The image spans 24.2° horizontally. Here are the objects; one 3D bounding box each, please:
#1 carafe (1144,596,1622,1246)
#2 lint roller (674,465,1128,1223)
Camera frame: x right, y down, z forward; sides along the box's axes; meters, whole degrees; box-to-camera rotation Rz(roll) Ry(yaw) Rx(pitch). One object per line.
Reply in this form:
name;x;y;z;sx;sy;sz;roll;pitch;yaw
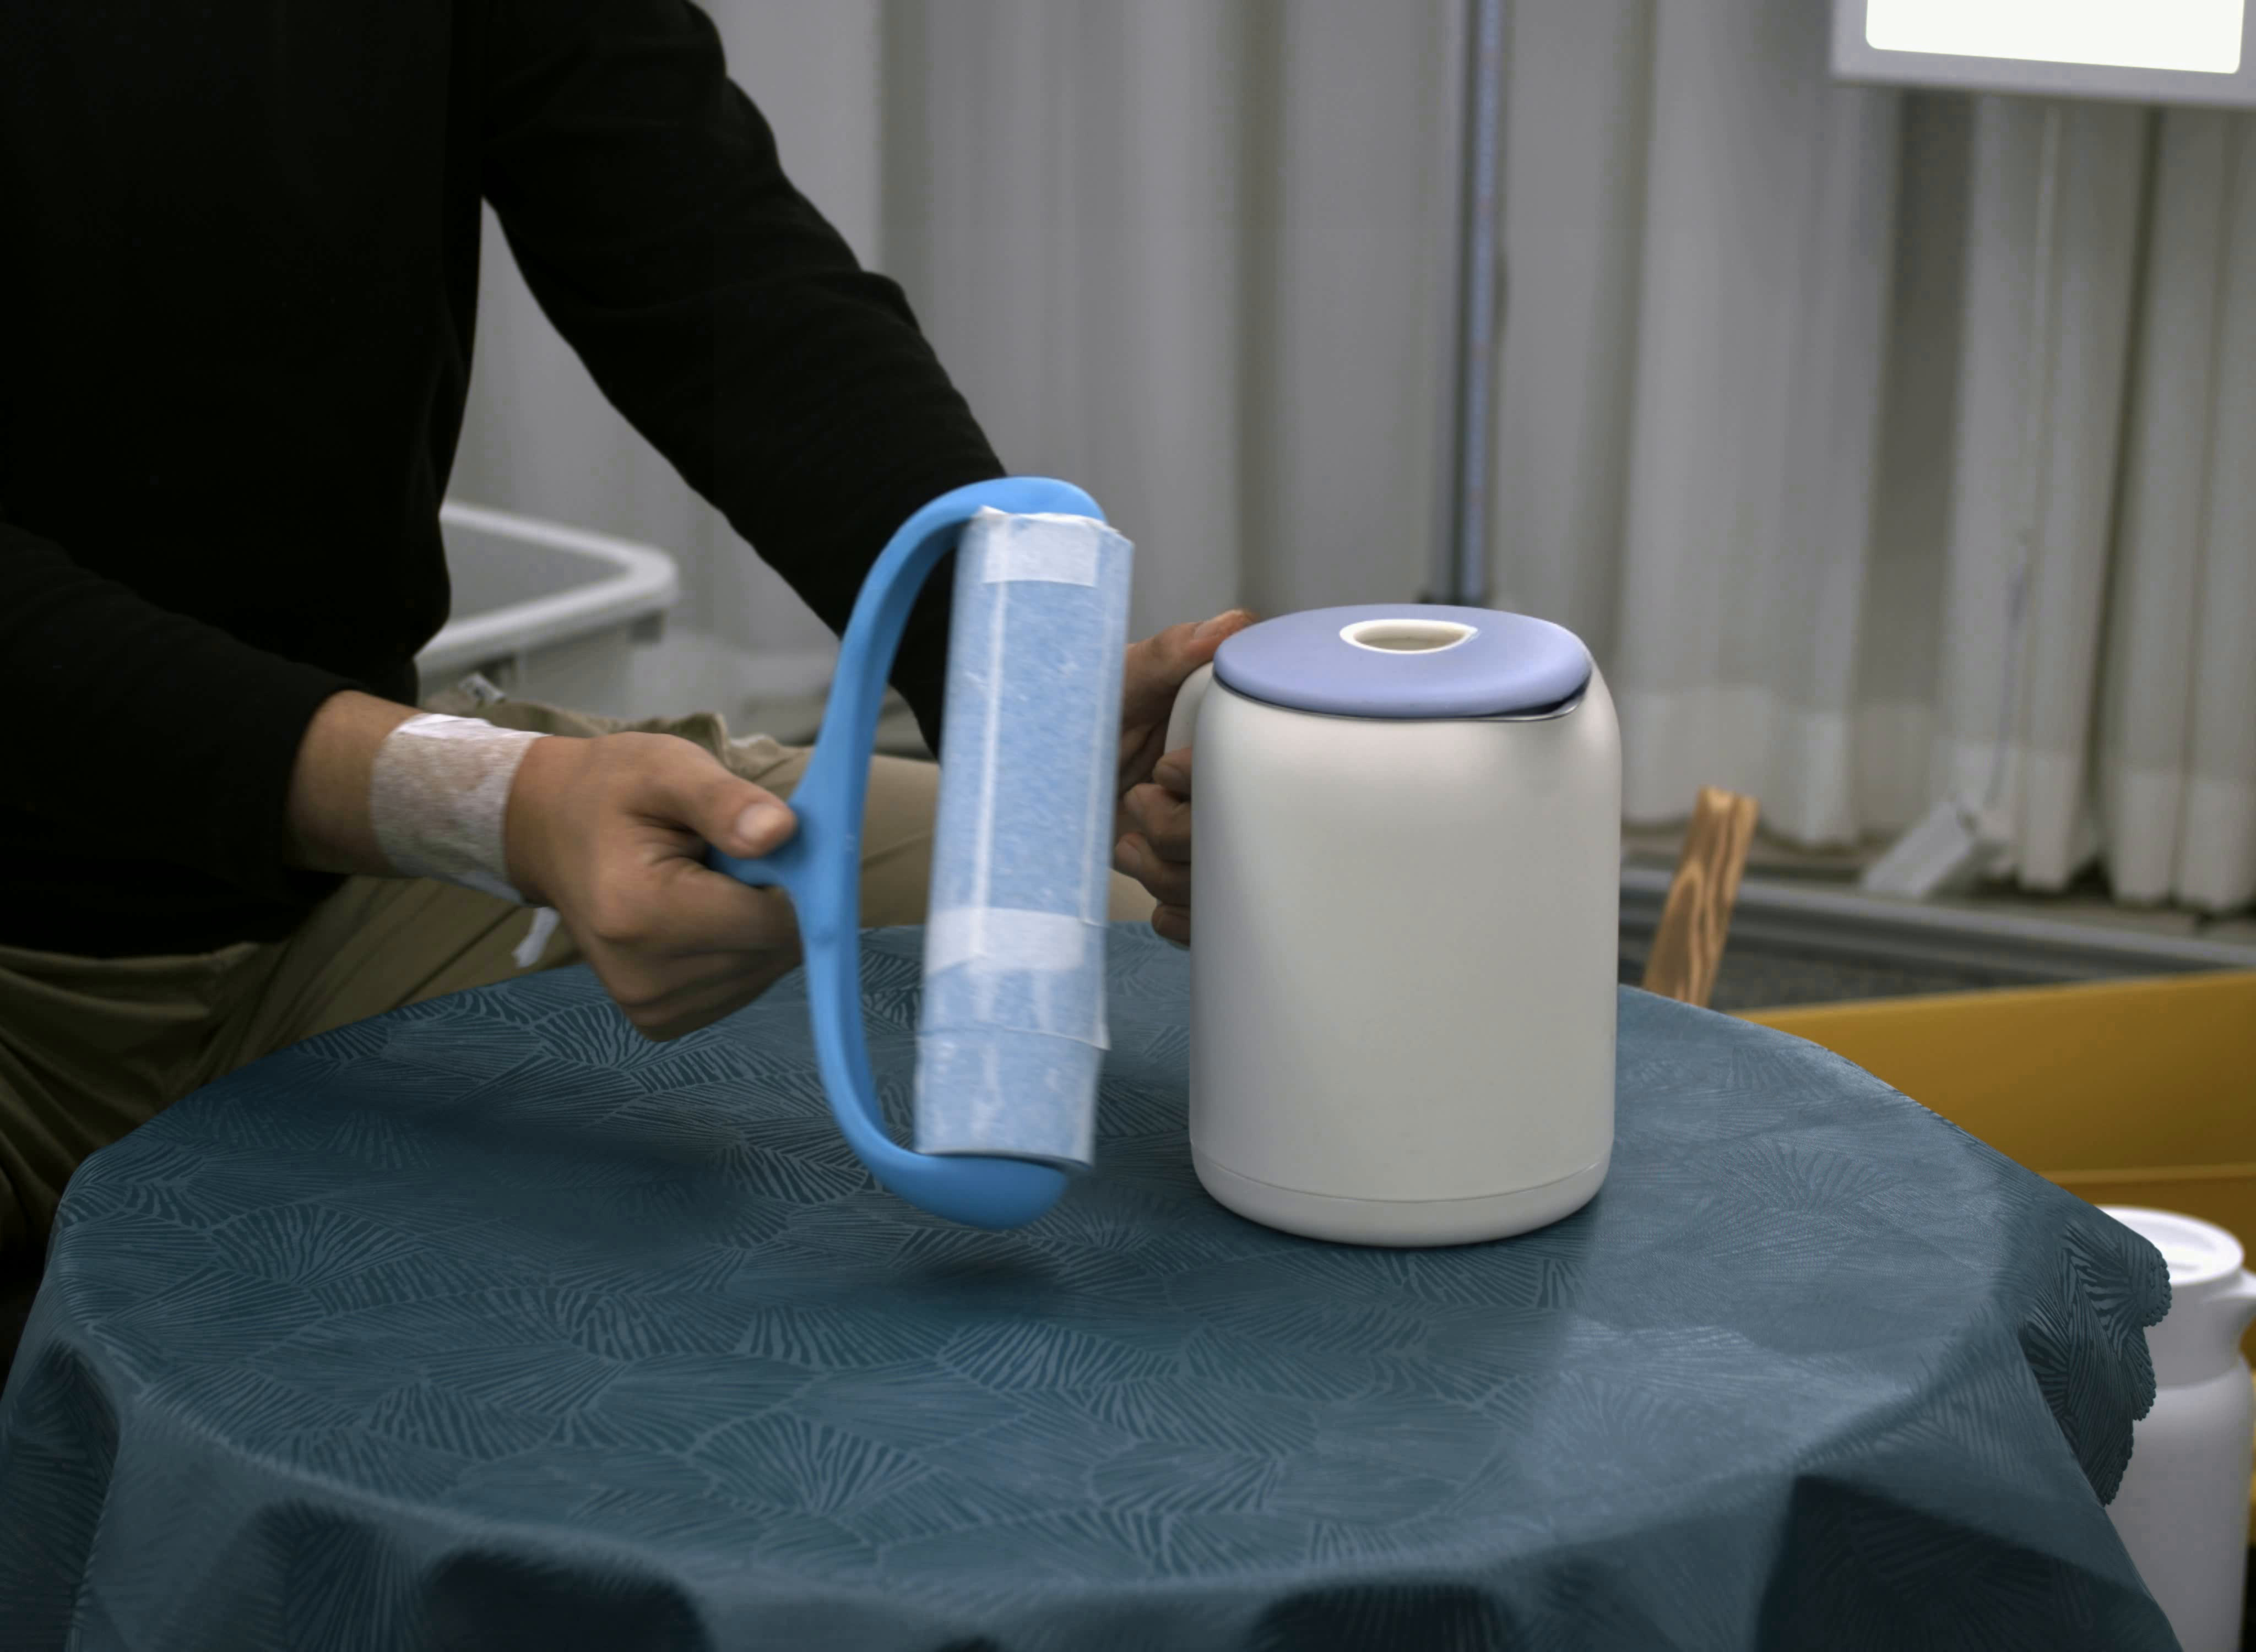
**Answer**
carafe;0.069;0.023;1.622;0.133;0.184;0.188;-12;17;-37
lint roller;-0.083;0.011;1.589;0.178;0.228;0.068;-7;-15;33
